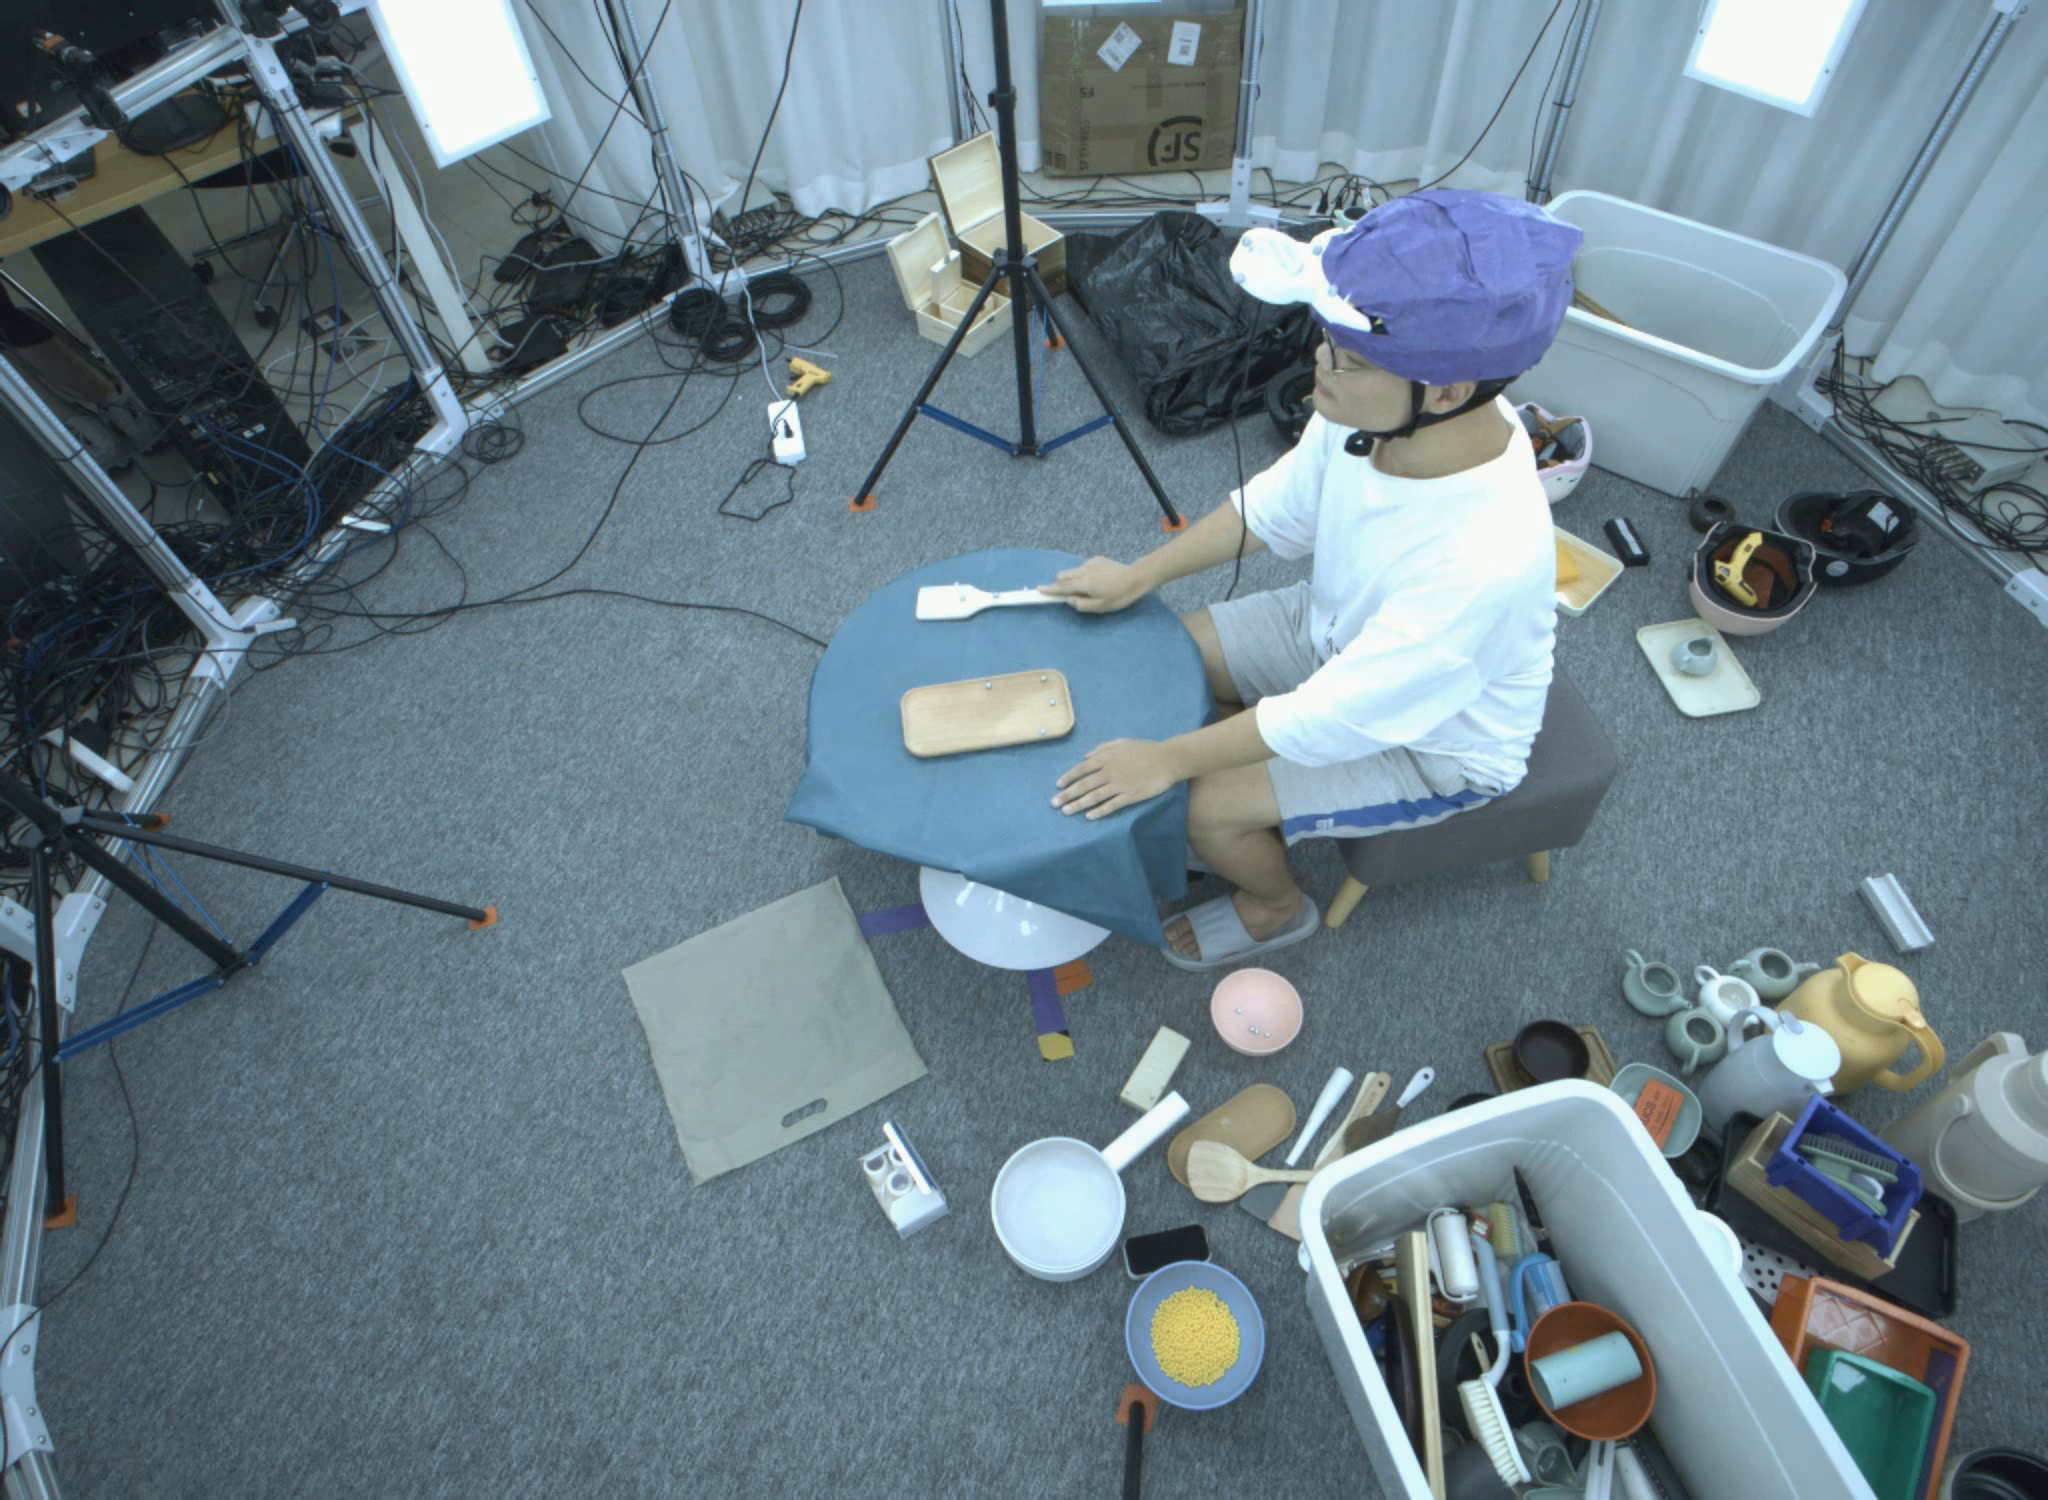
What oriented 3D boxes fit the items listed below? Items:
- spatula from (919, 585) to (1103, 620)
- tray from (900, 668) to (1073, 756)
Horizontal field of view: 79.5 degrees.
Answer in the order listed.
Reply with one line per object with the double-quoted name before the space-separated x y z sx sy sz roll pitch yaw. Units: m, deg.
"spatula" -0.021 -0.241 1.942 0.292 0.011 0.071 -3 52 5
"tray" -0.056 -0.056 1.817 0.251 0.023 0.129 -8 52 -3
